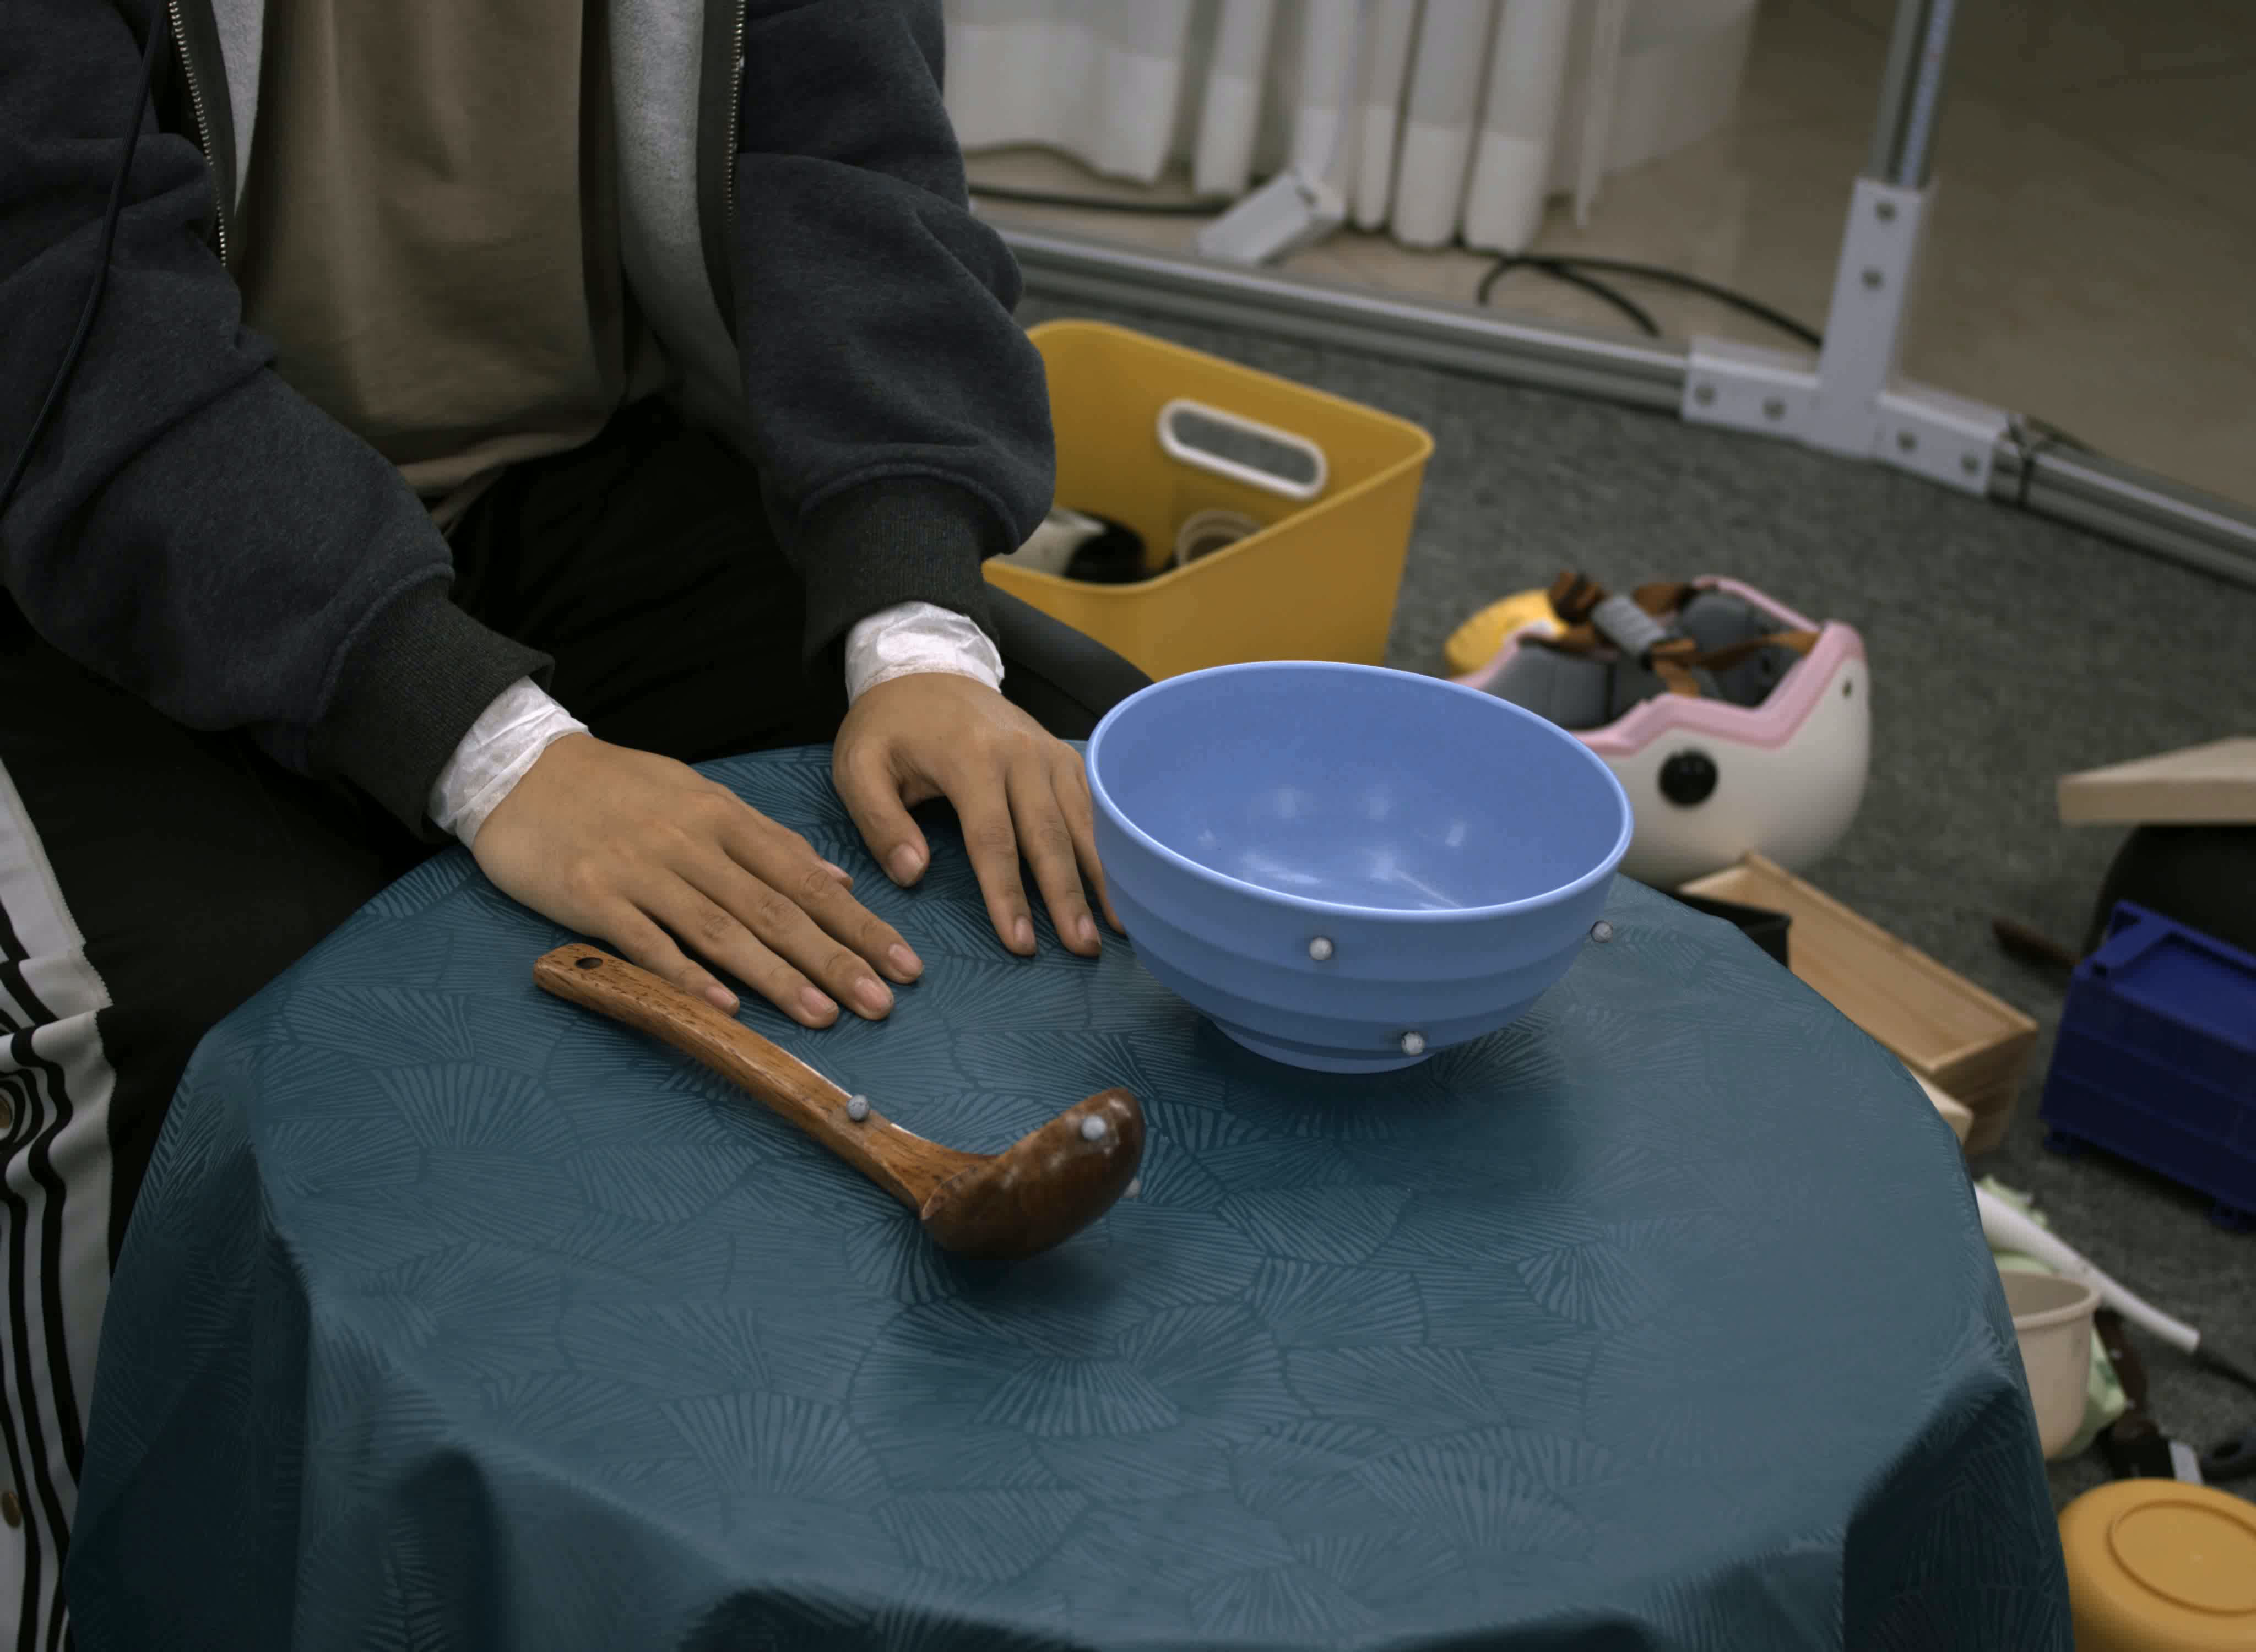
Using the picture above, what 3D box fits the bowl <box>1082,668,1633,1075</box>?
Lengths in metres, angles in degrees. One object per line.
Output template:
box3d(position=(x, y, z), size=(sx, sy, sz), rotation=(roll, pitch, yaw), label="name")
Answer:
box3d(position=(0.077, 0.026, 1.907), size=(0.196, 0.095, 0.197), rotation=(4, 26, -2), label="bowl")

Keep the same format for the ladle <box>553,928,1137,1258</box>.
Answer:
box3d(position=(-0.106, 0.070, 1.795), size=(0.081, 0.076, 0.276), rotation=(-22, 39, -38), label="ladle")
